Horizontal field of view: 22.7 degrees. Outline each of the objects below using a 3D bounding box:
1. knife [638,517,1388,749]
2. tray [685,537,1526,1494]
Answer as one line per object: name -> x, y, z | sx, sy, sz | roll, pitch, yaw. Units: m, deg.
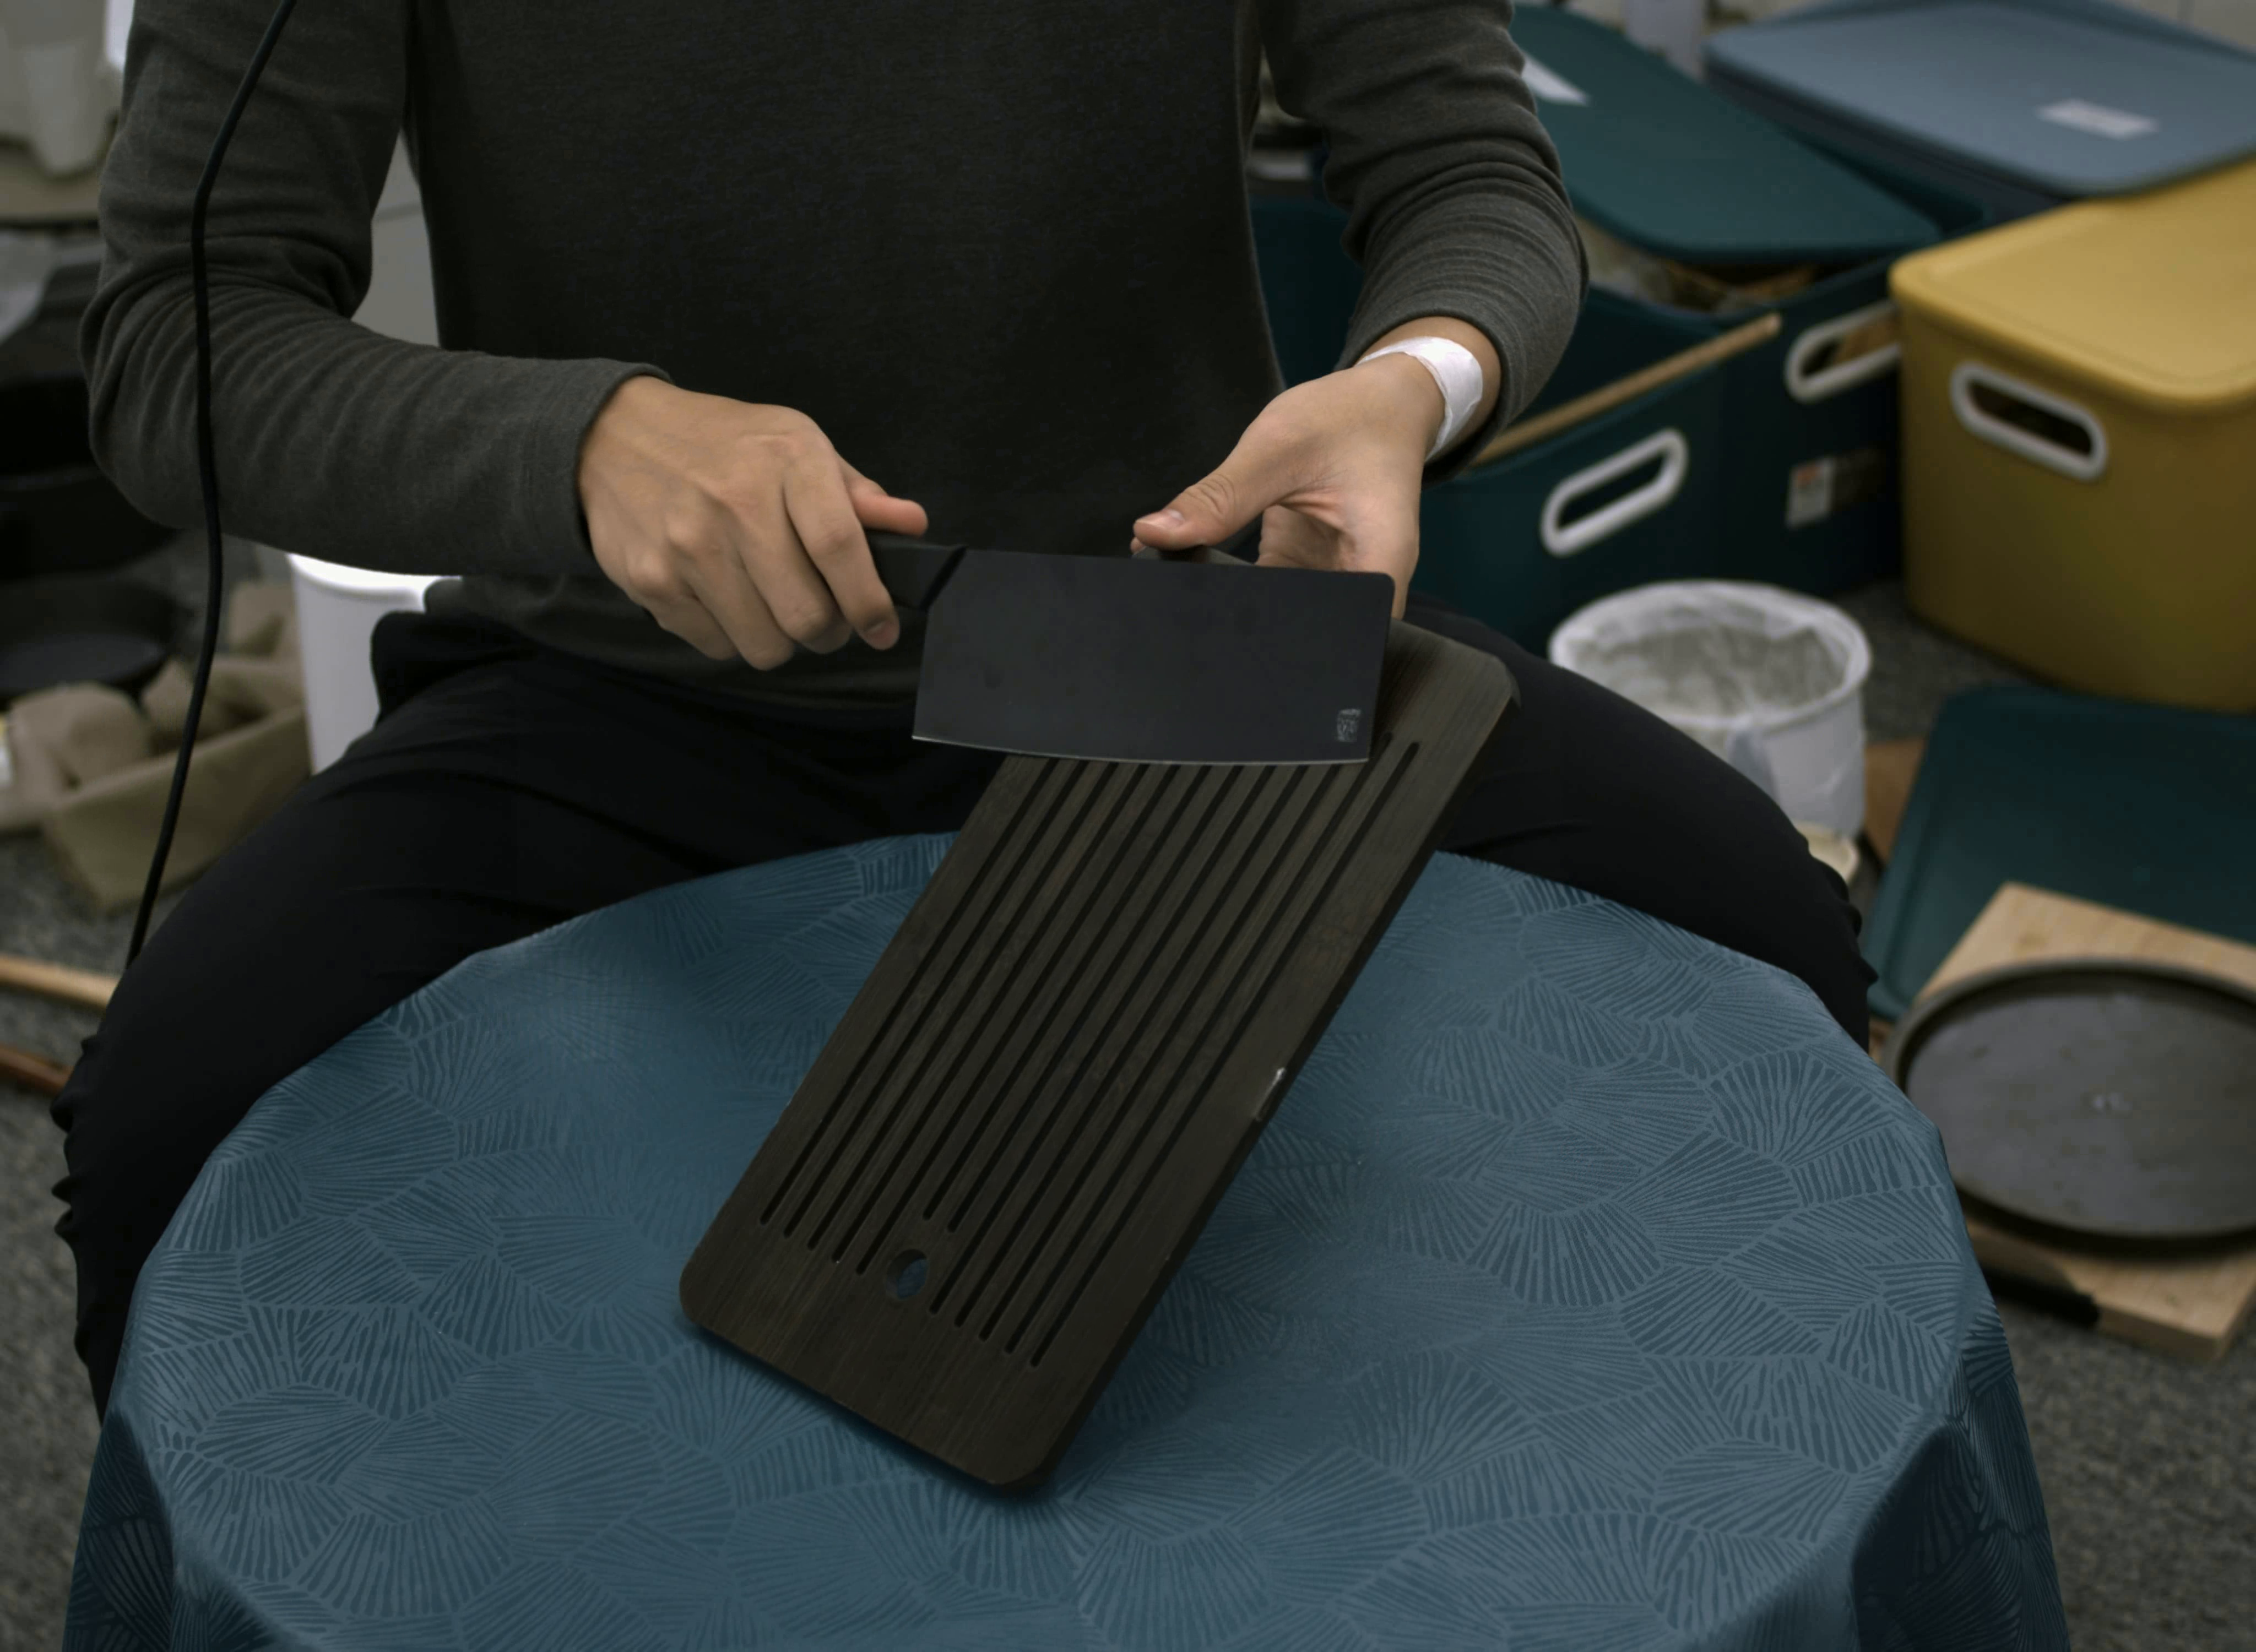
knife -> -0.043, -0.066, 1.856 | 0.300, 0.081, 0.021 | 10, -5, 35
tray -> -0.006, 0.055, 1.781 | 0.170, 0.018, 0.309 | 22, 73, 42
